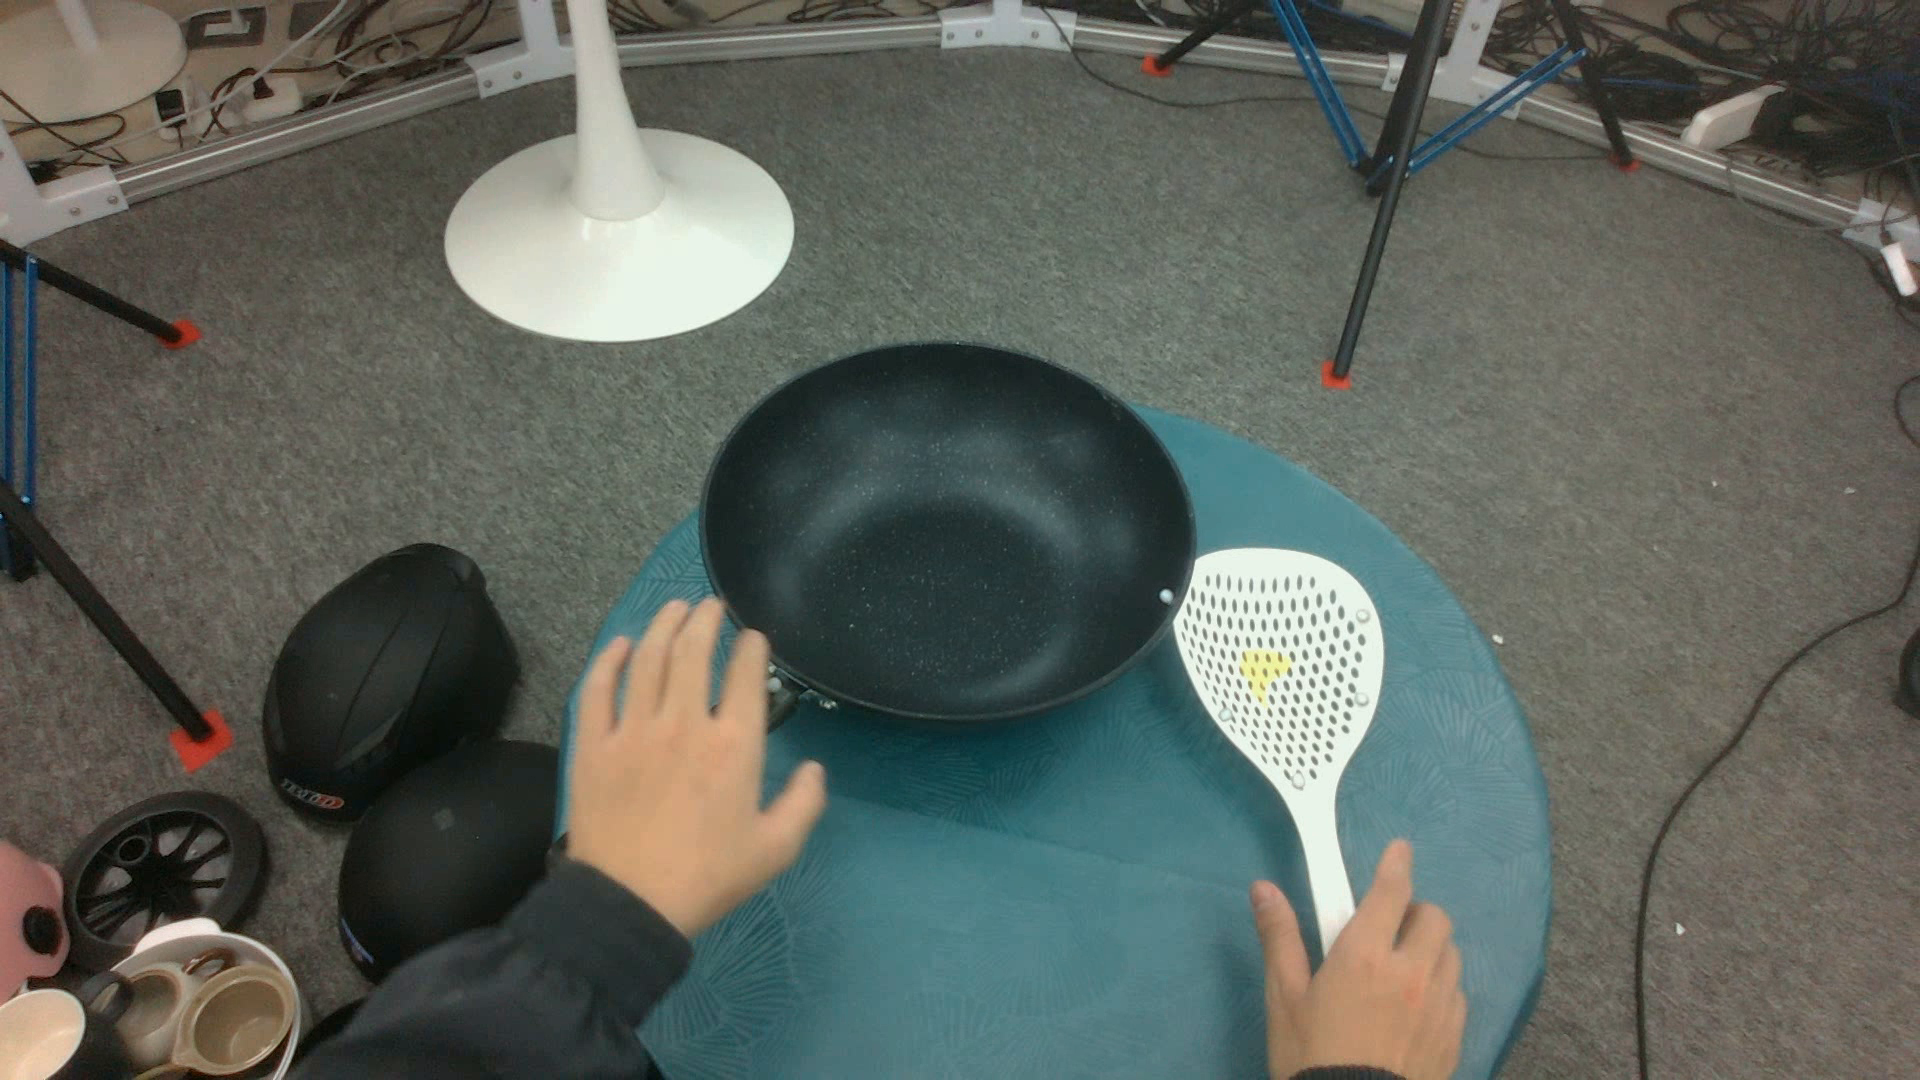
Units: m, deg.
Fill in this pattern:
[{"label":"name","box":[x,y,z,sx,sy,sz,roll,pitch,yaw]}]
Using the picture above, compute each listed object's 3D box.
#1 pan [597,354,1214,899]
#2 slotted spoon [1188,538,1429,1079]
[{"label":"pan","box":[-0.040,0.056,0.847,0.310,0.111,0.479,26,53,21]},{"label":"slotted spoon","box":[0.220,0.145,0.818,0.137,0.050,0.349,-1,49,-5]}]
